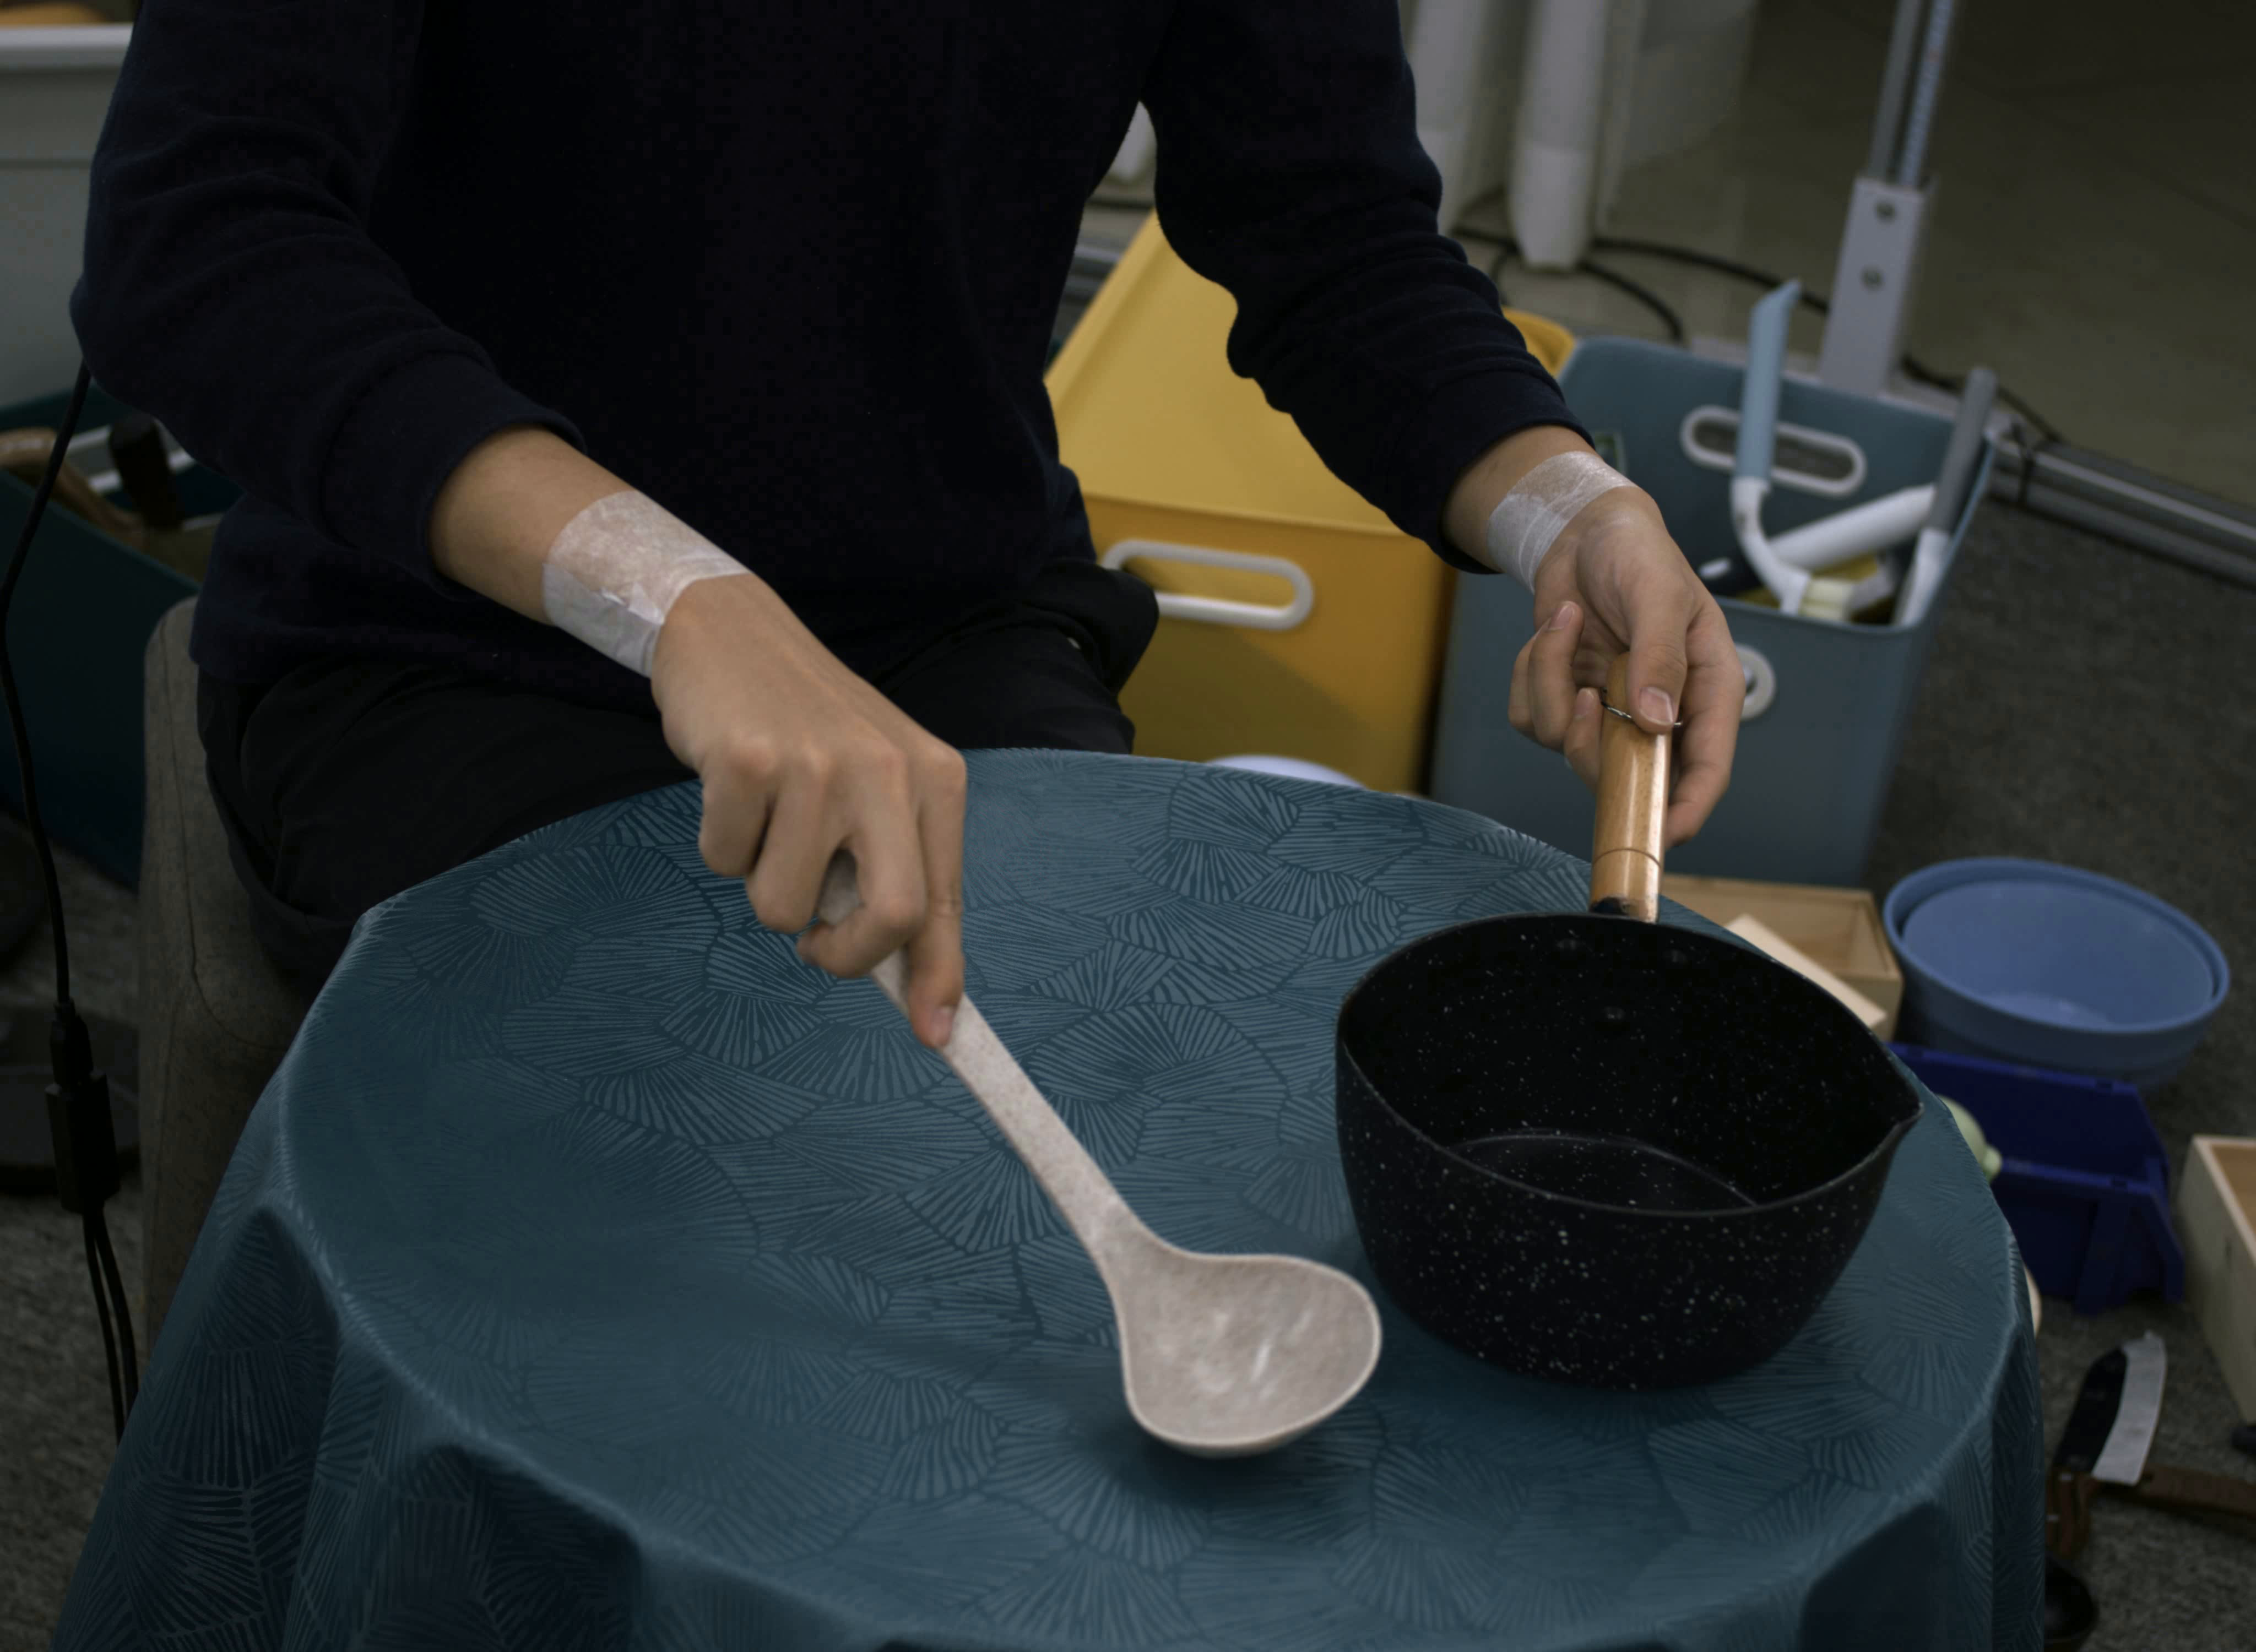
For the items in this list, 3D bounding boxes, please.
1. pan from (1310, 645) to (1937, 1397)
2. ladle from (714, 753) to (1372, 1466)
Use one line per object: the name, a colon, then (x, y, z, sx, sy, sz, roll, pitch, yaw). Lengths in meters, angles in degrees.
pan: (0.166, 0.063, 1.828, 0.207, 0.108, 0.345, 6, 31, 2)
ladle: (-0.029, 0.080, 1.652, 0.089, 0.274, 0.069, -39, 6, -34)
